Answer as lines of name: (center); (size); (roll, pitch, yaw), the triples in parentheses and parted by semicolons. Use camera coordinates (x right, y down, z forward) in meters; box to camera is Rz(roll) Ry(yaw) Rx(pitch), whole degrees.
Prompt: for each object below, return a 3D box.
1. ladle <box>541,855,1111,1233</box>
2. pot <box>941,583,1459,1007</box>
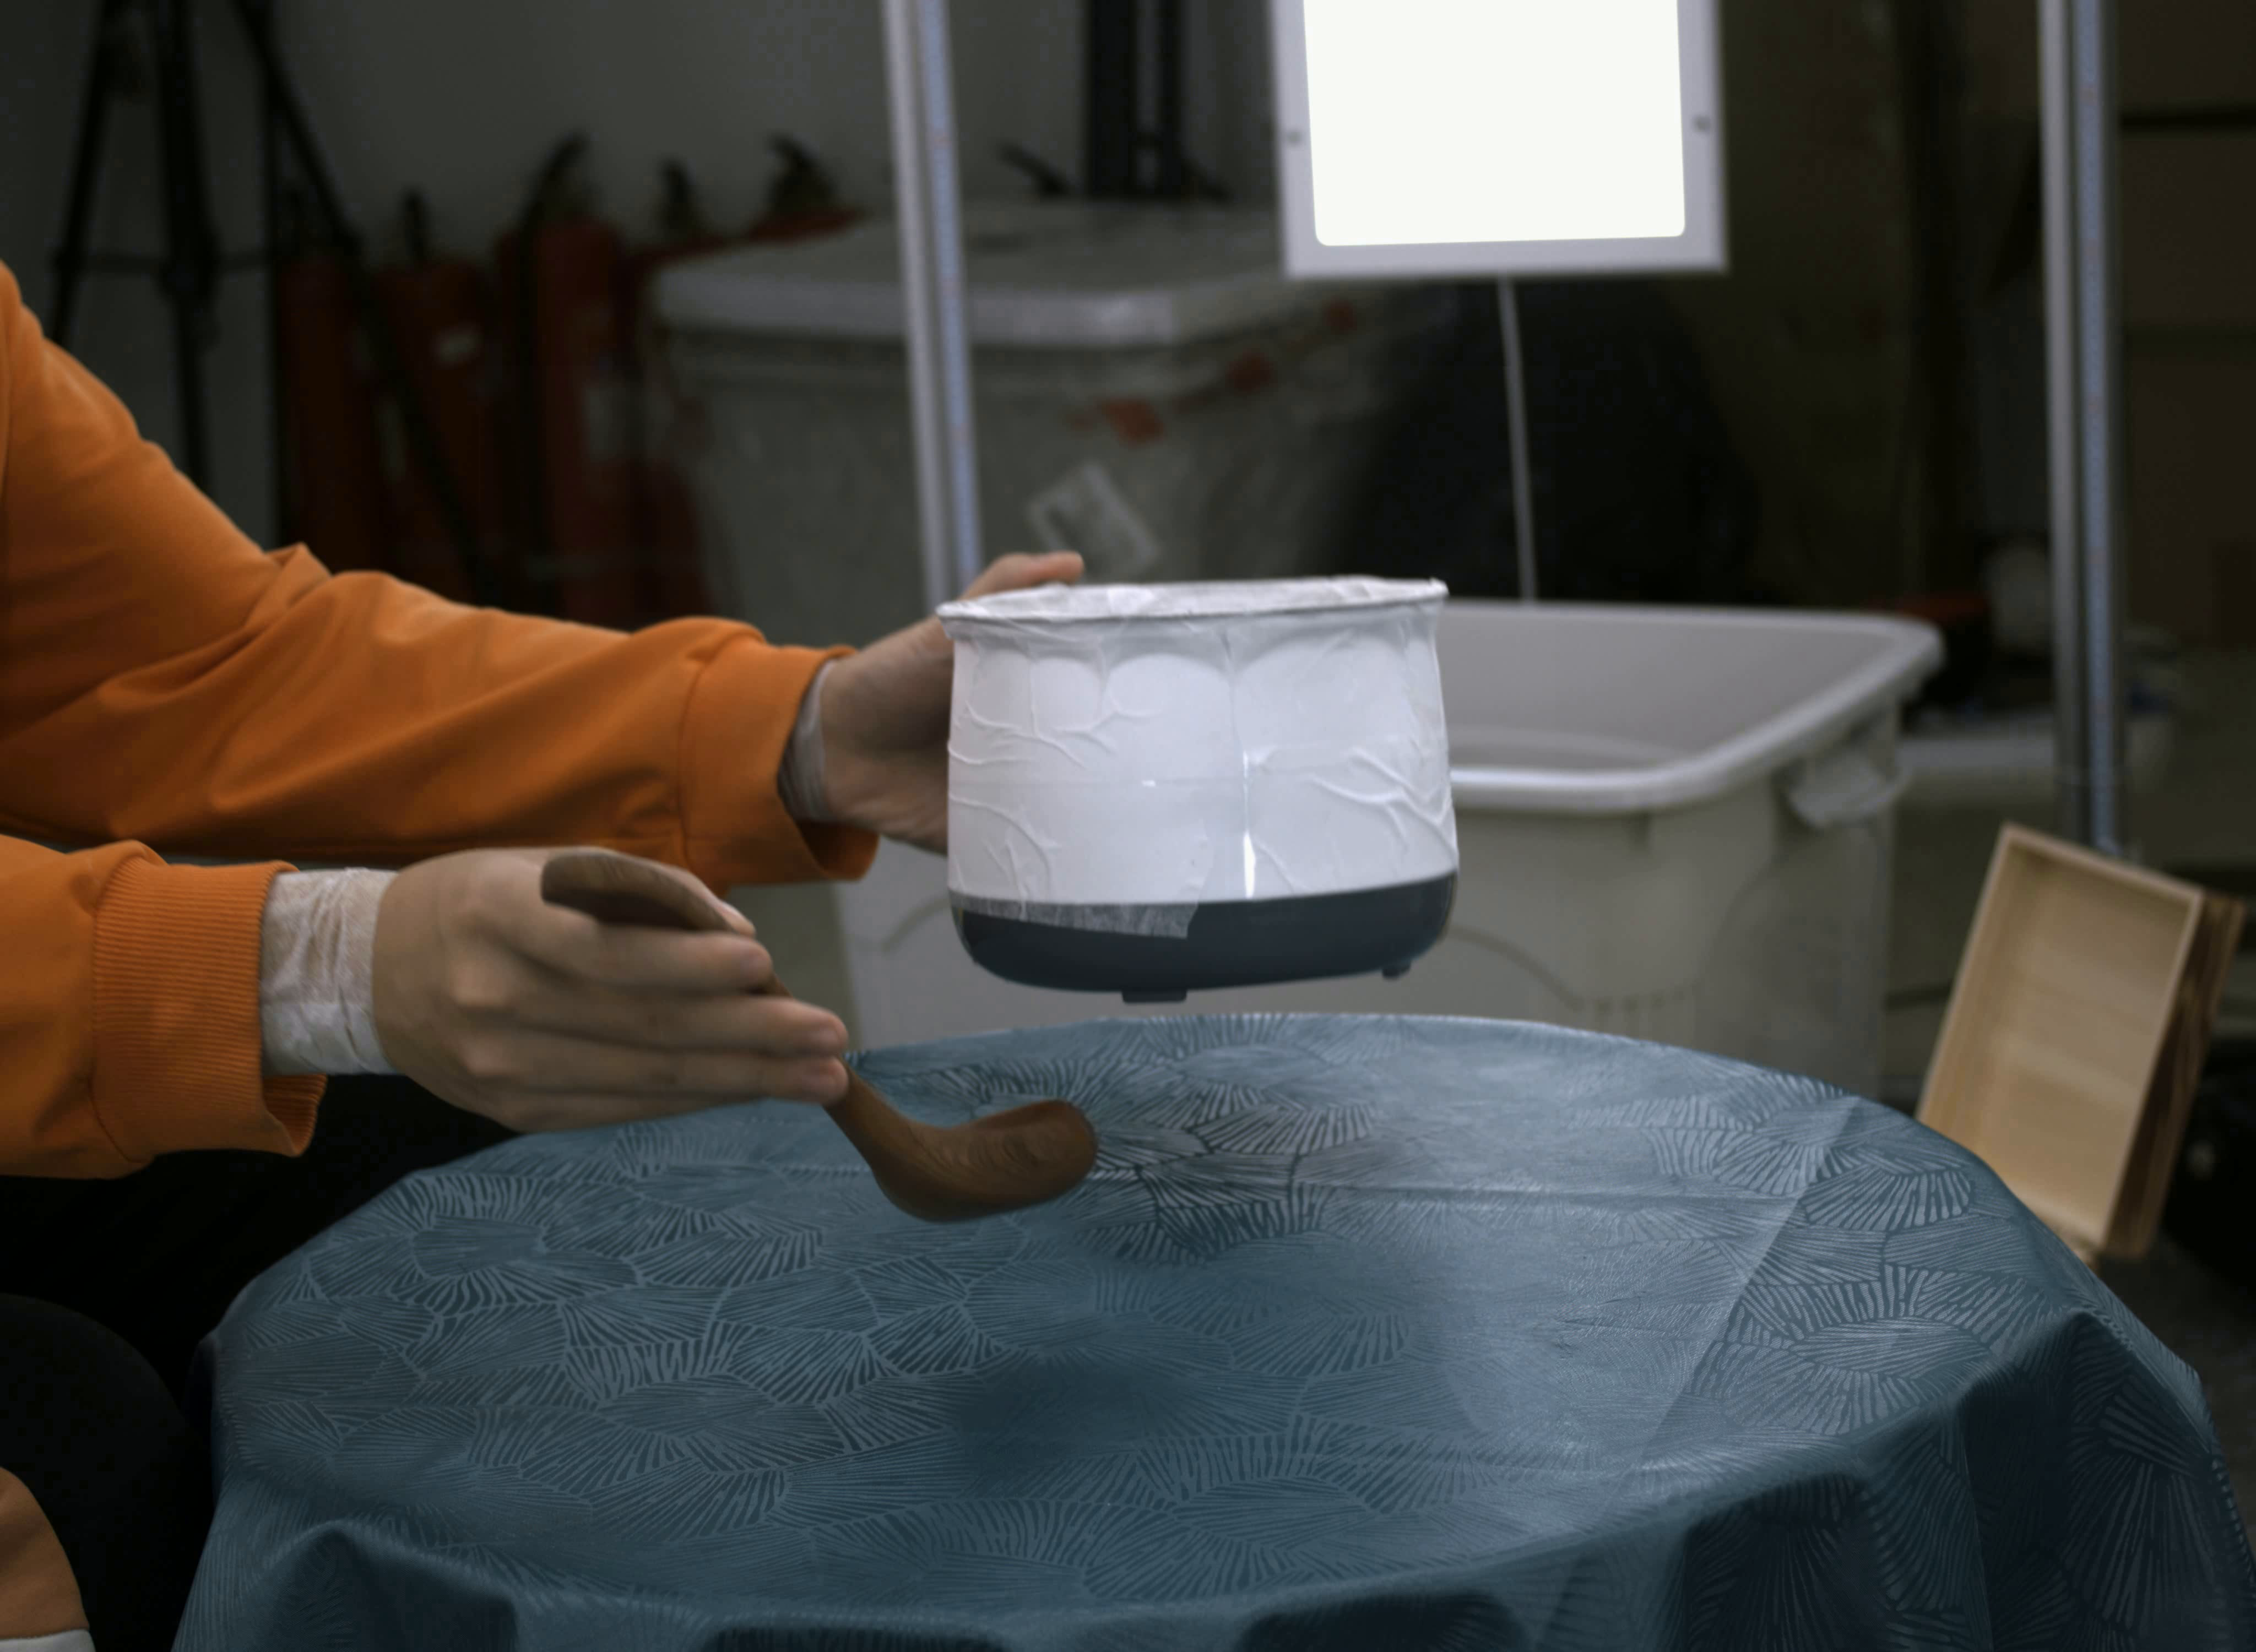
ladle: (-0.092, 0.055, 1.647); (0.078, 0.256, 0.065); (-18, 50, 27)
pot: (0.011, -0.015, 1.915); (0.174, 0.137, 0.238); (-4, 5, -30)
